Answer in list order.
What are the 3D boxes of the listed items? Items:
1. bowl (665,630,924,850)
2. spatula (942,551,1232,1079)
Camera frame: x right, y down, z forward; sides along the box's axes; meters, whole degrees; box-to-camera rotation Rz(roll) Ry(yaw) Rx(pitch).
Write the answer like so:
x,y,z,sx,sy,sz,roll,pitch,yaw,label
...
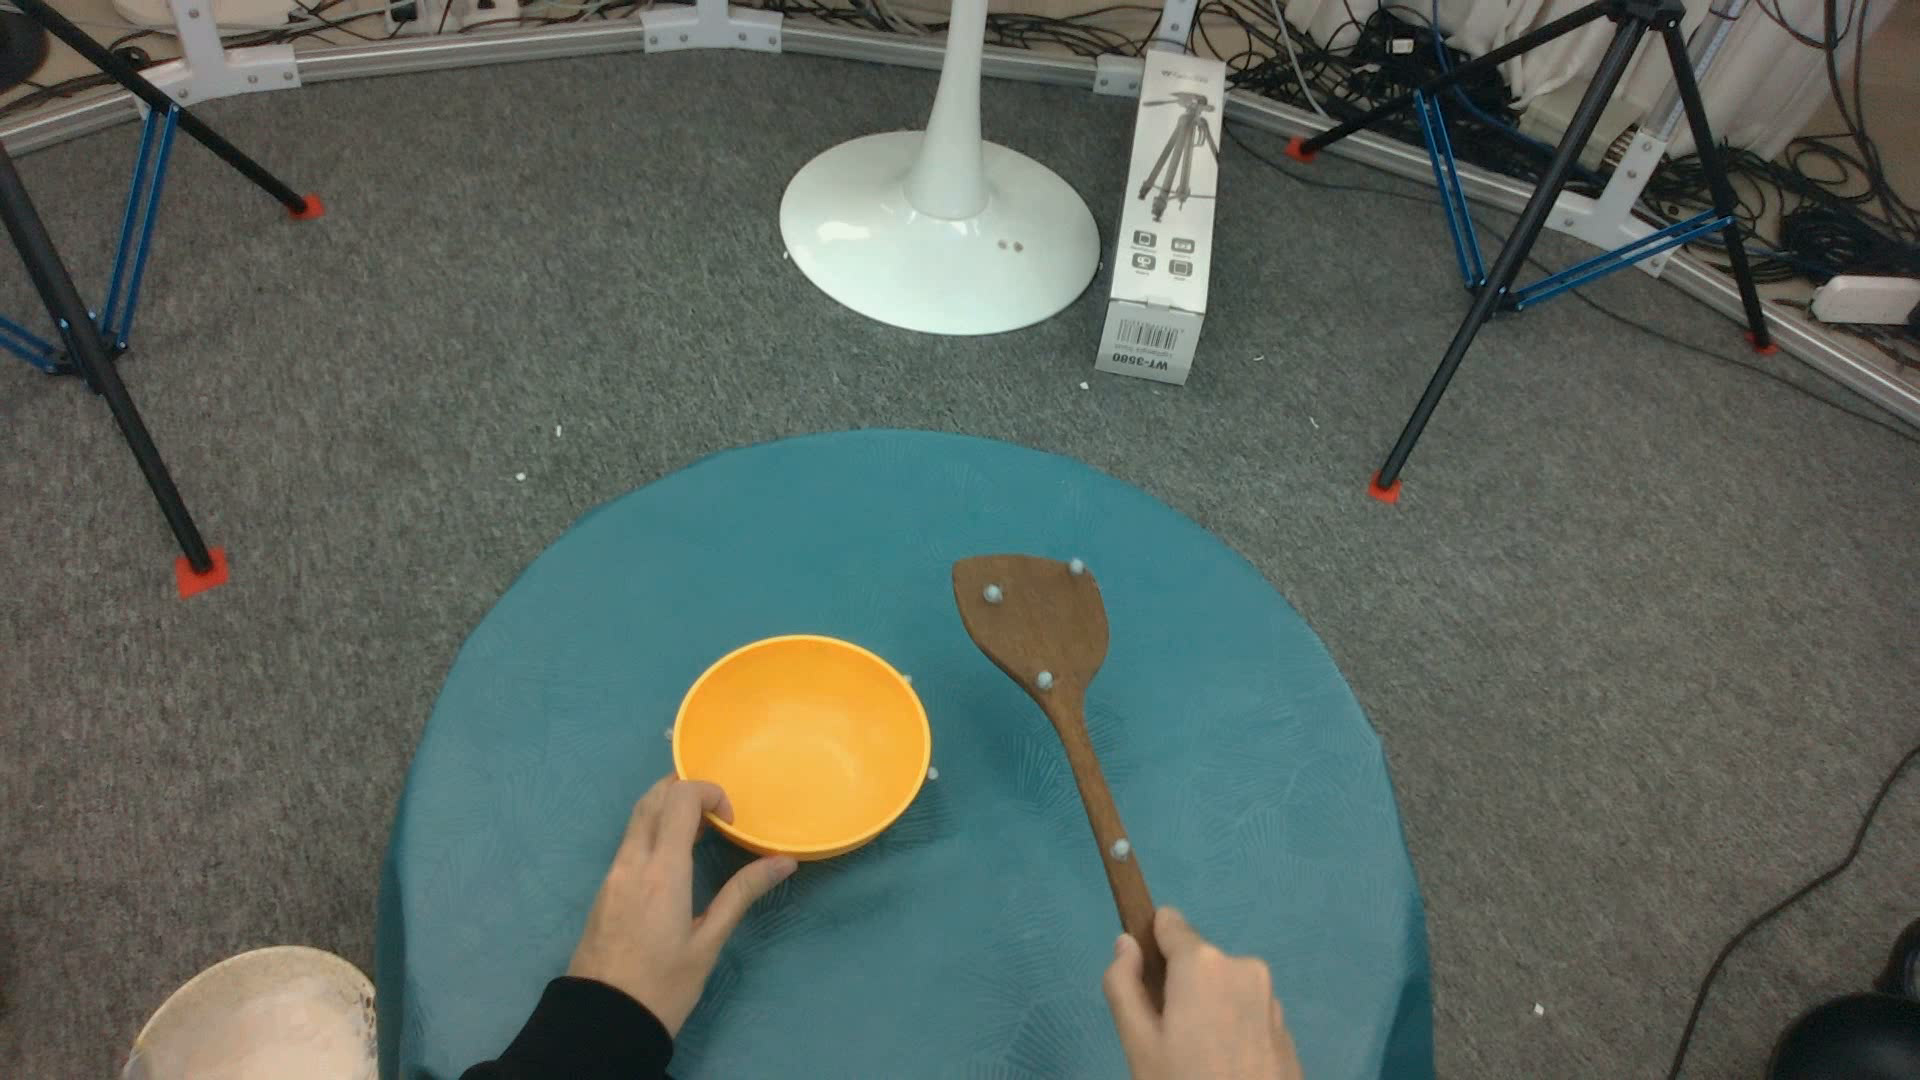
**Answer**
x,y,z,sx,sy,sz,roll,pitch,yaw,label
-0.094,0.125,0.796,0.145,0.060,0.146,3,46,-3,bowl
0.071,0.138,0.696,0.096,0.015,0.387,4,41,-21,spatula
